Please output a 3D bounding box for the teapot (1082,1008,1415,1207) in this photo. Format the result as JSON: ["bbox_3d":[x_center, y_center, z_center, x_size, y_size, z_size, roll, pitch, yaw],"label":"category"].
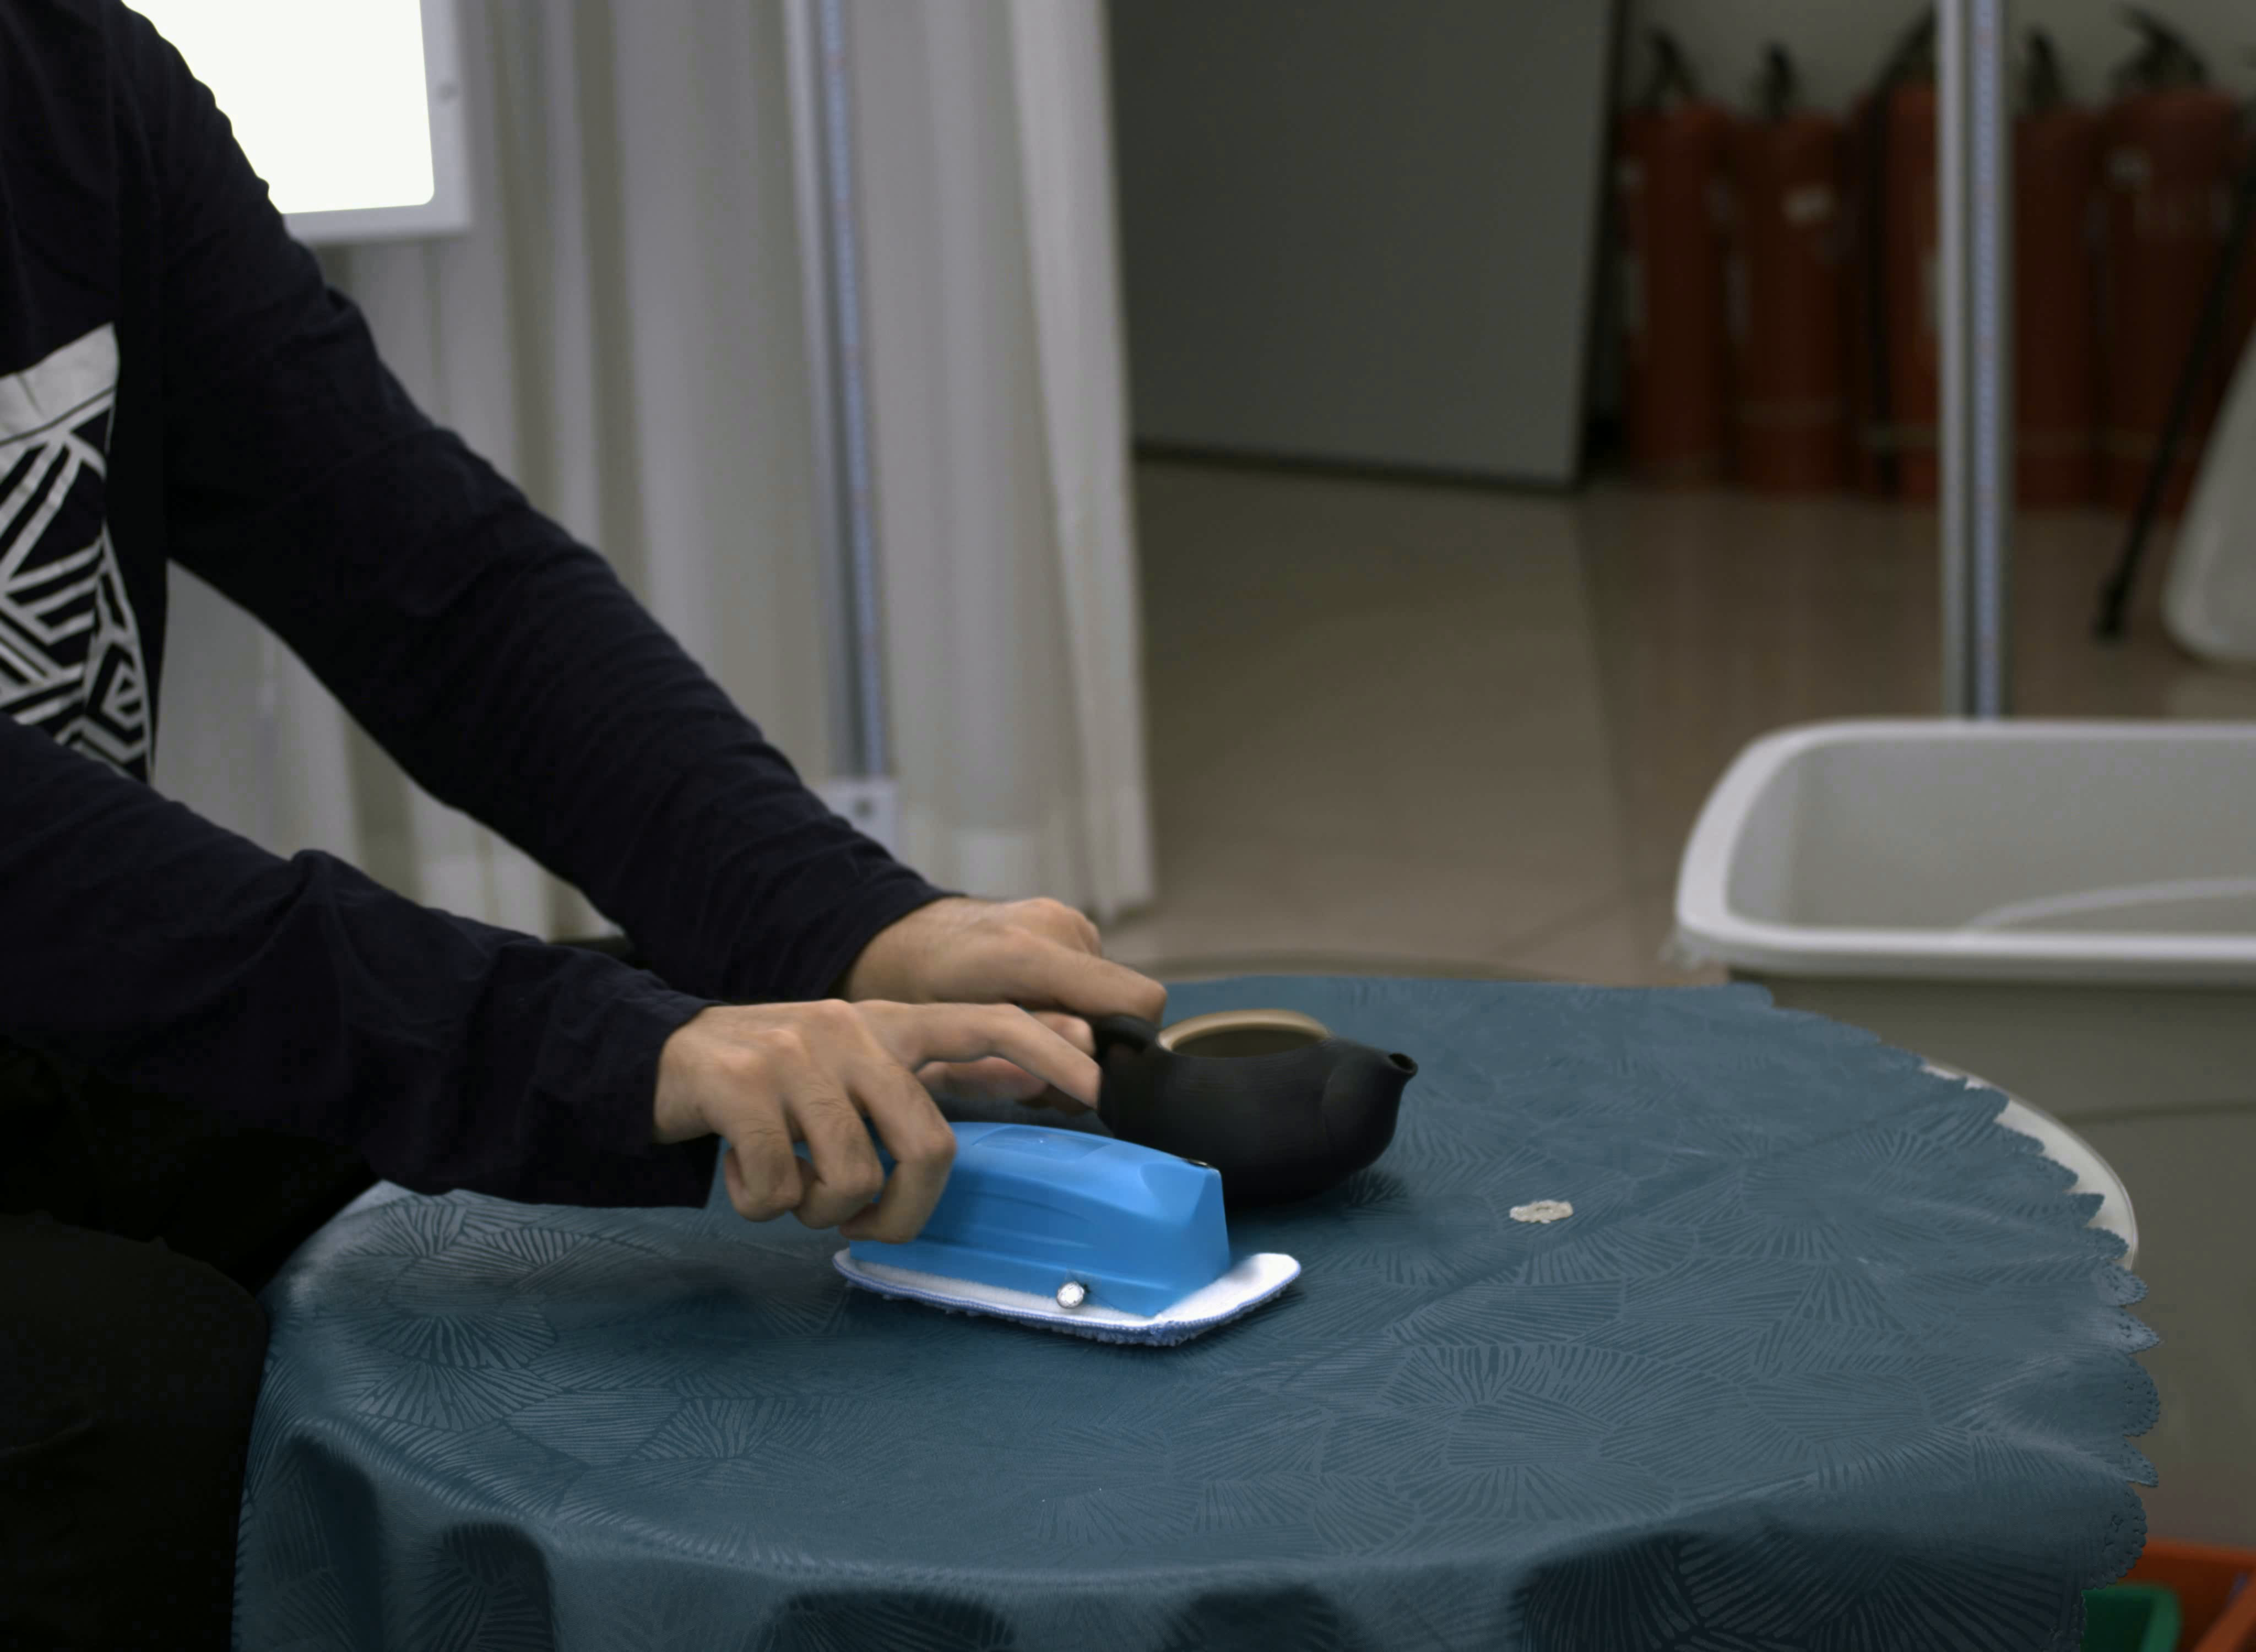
[{"bbox_3d":[0.039,0.092,1.765,0.134,0.053,0.089,7,16,37],"label":"teapot"}]

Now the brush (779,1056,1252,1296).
[{"bbox_3d":[-0.031,0.106,1.652,0.143,0.056,0.083,14,8,15],"label":"brush"}]
